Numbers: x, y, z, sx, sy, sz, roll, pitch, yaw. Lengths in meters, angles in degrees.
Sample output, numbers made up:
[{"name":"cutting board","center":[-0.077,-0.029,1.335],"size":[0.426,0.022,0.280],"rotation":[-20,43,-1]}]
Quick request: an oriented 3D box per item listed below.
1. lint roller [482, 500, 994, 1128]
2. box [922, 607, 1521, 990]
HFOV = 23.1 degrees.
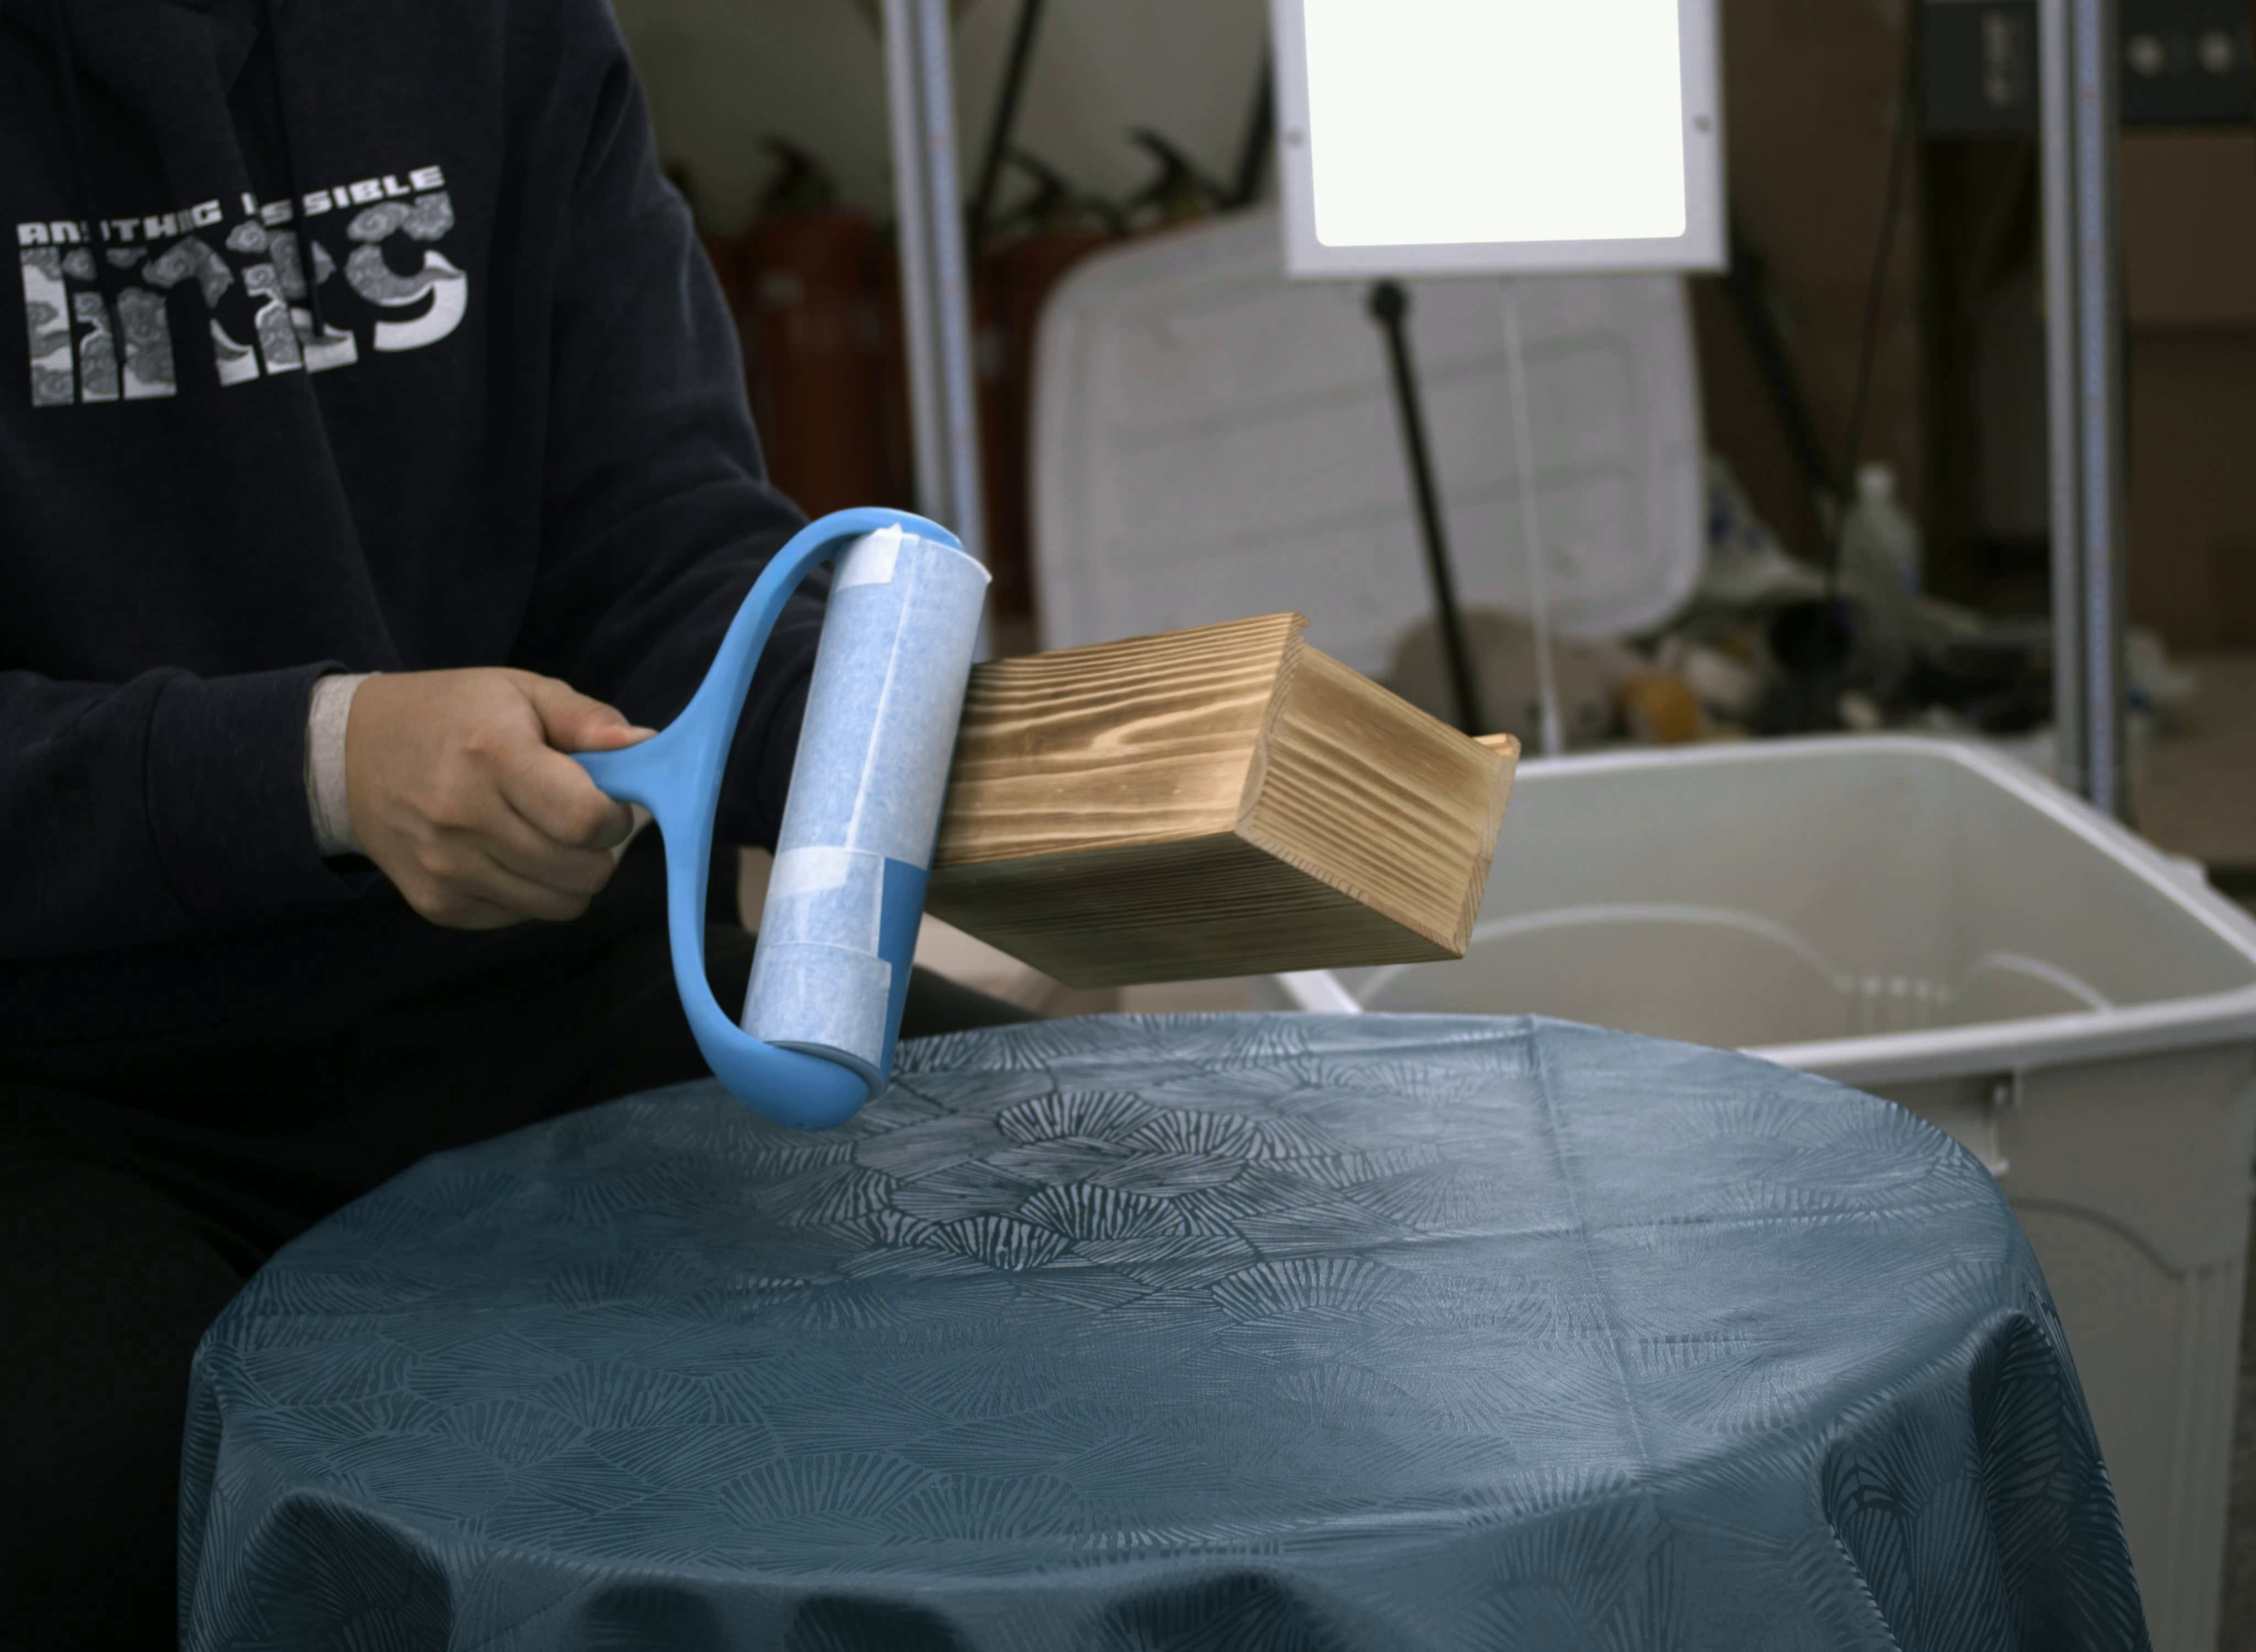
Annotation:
[{"name":"lint roller","center":[-0.146,-0.007,1.892],"size":[0.182,0.228,0.067],"rotation":[1,-23,16]},{"name":"box","center":[0.018,-0.006,1.870],"size":[0.105,0.080,0.216],"rotation":[29,-21,-32]}]
